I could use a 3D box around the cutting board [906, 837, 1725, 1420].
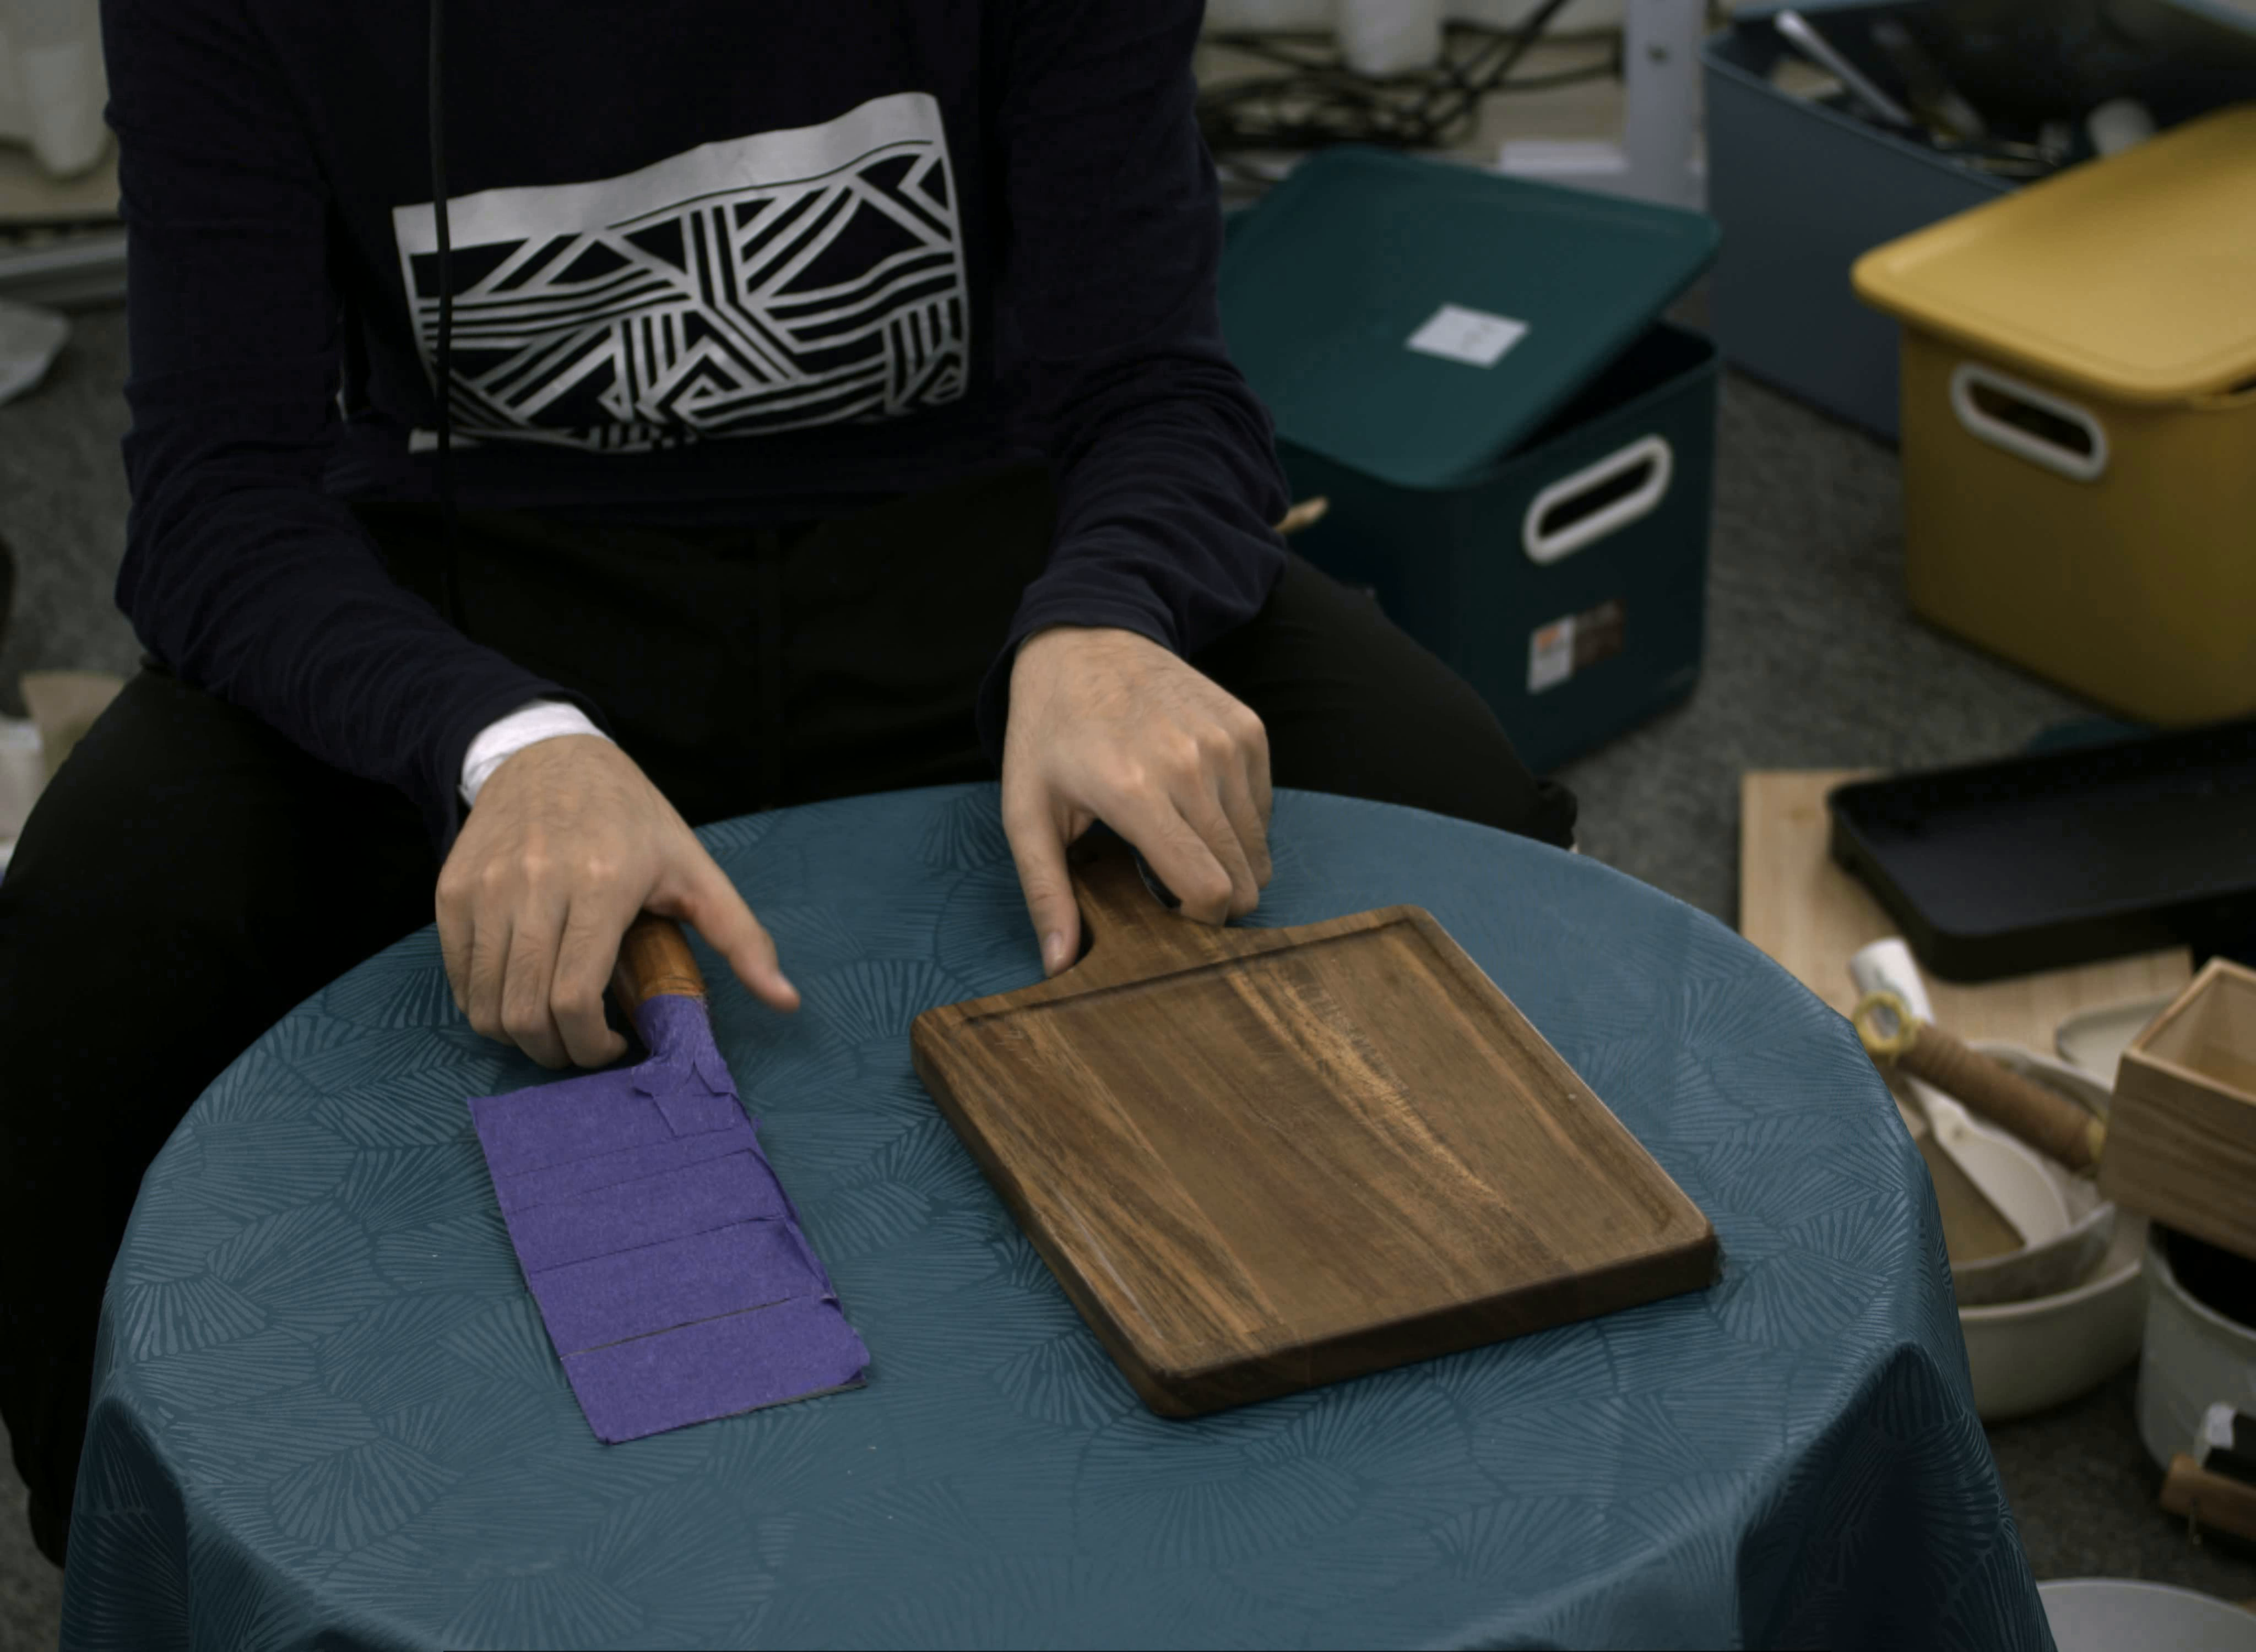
[{"bbox_3d":[0.040,0.085,1.906,0.201,0.023,0.355,-12,28,-17],"label":"cutting board"}]

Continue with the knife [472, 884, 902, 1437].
[{"bbox_3d":[-0.167,0.107,1.877,0.104,0.032,0.318,-10,29,-15],"label":"knife"}]
